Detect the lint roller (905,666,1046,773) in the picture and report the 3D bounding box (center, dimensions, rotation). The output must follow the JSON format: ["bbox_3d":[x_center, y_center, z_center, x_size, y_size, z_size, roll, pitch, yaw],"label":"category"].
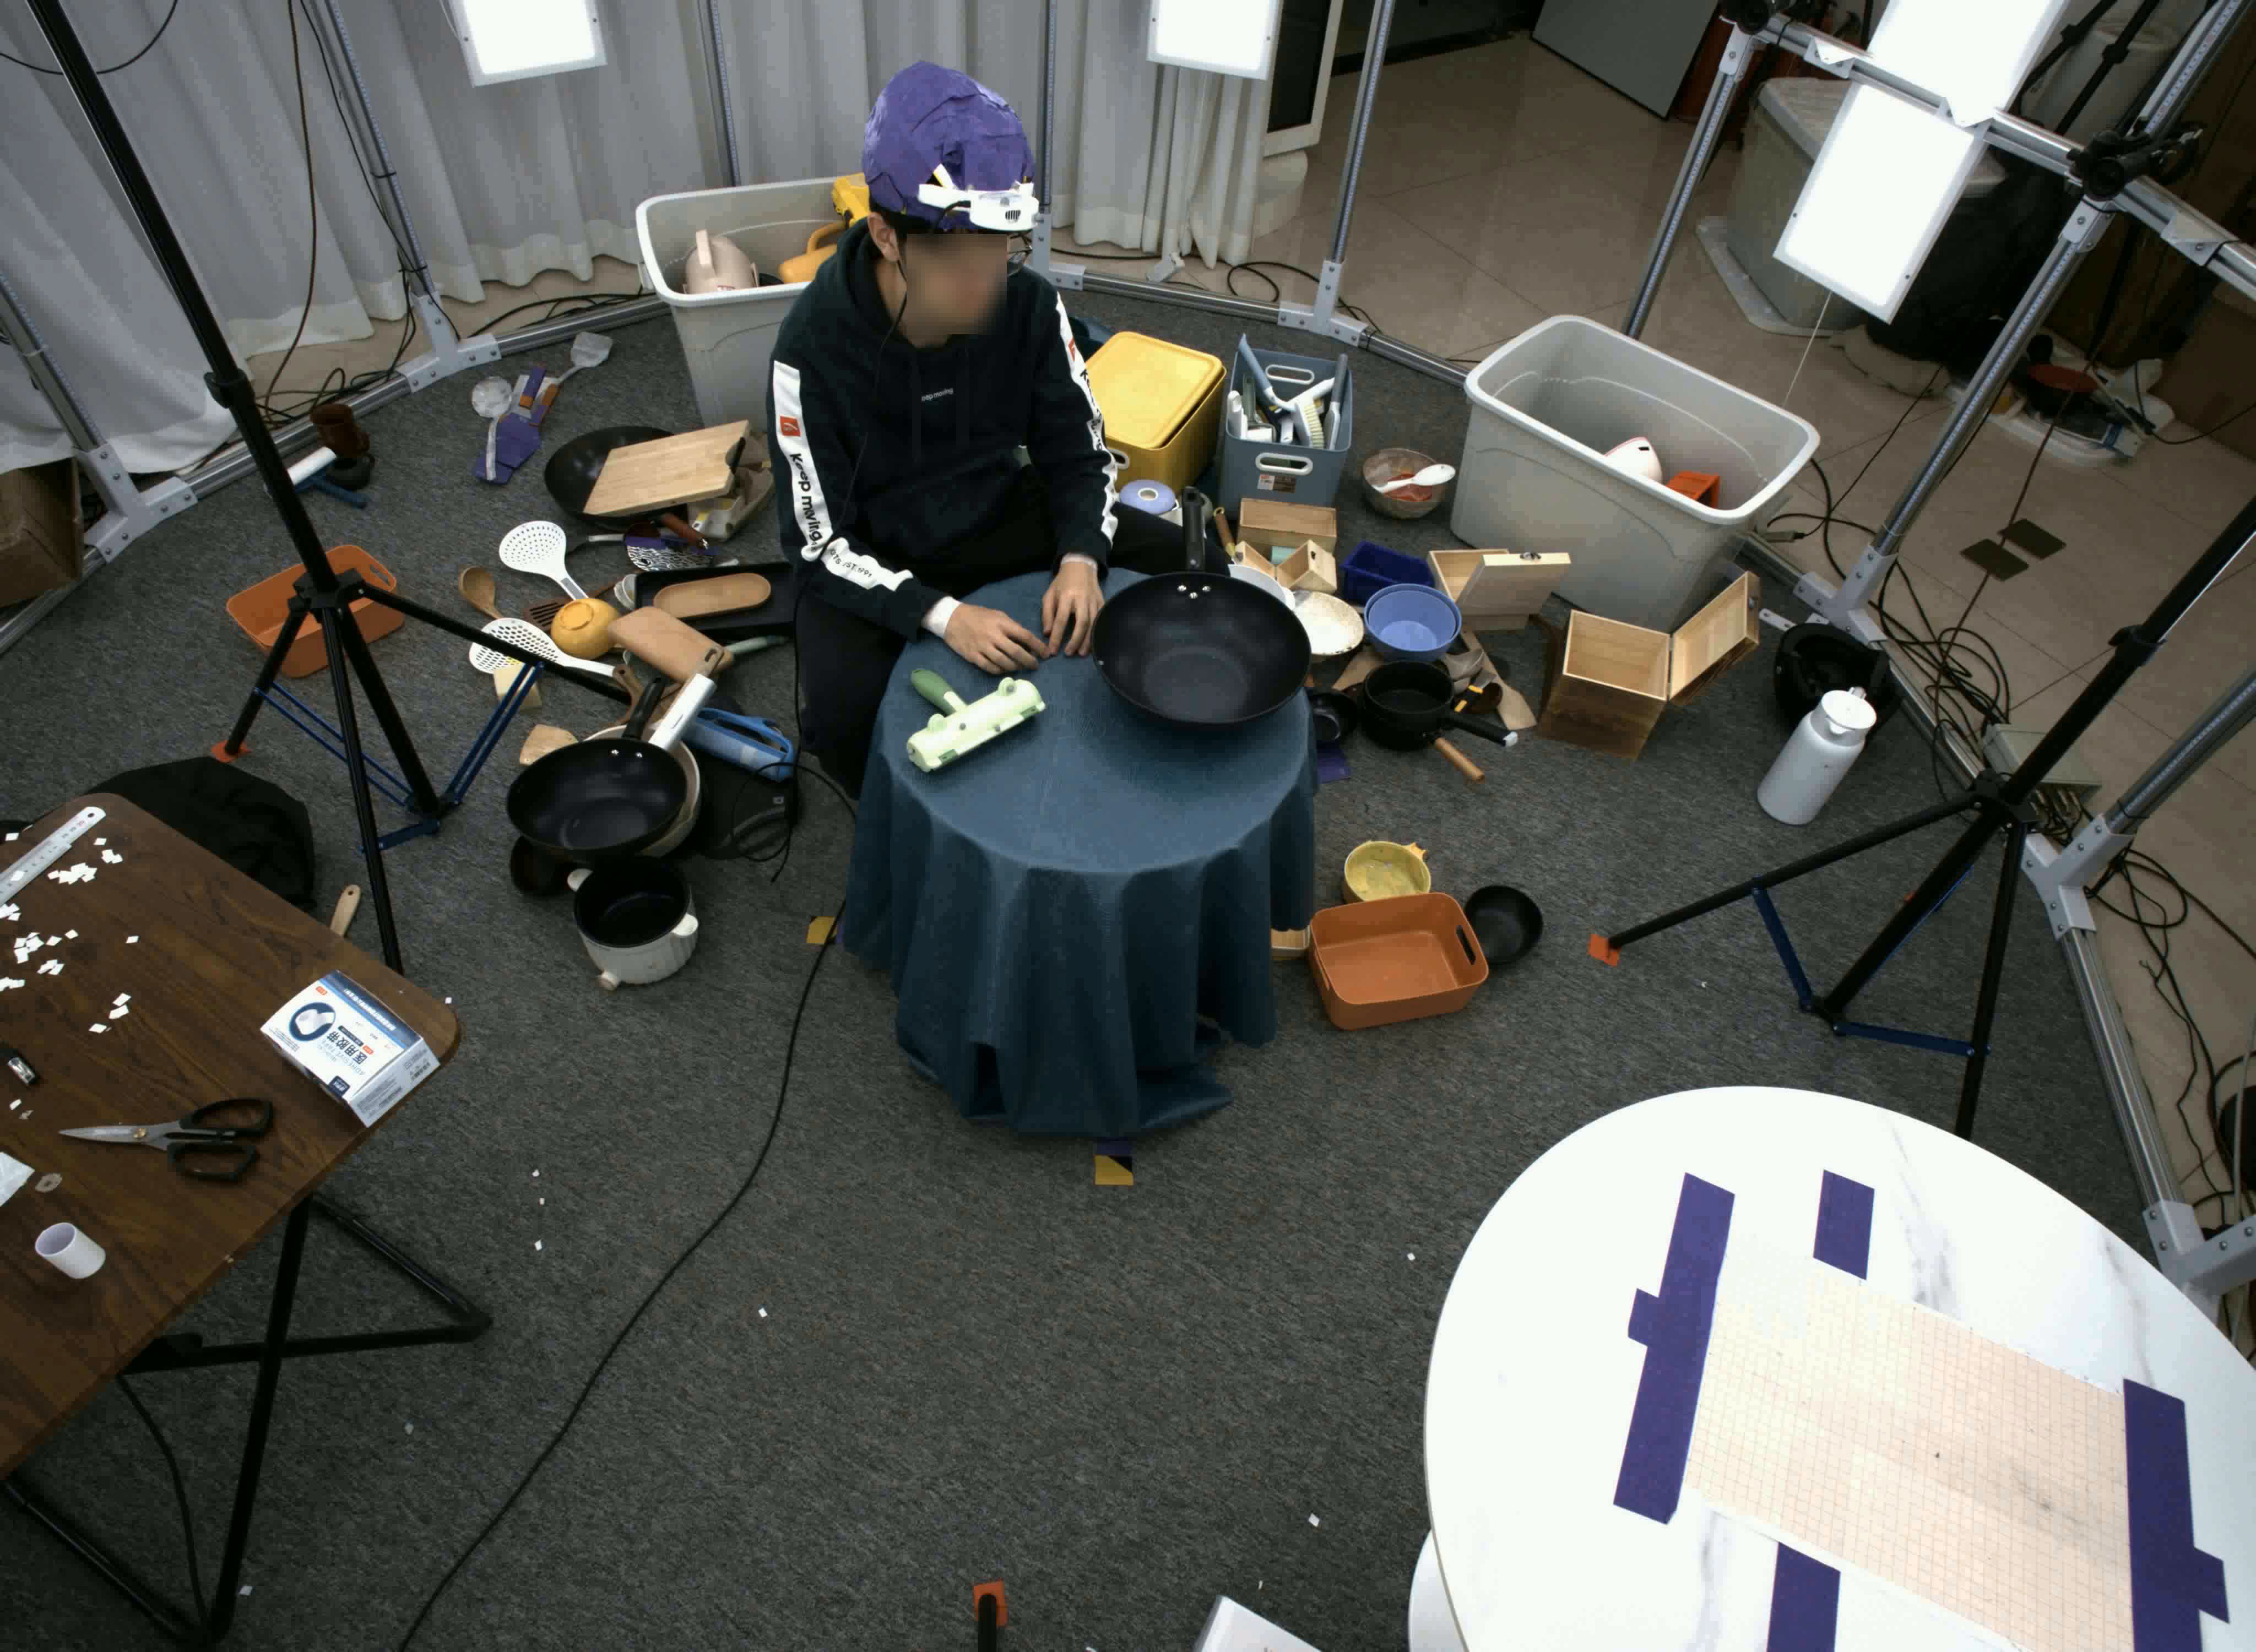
[{"bbox_3d":[-0.241,-0.178,1.758,0.200,0.080,0.186,-31,62,-26],"label":"lint roller"}]

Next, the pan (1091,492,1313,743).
[{"bbox_3d":[0.099,-0.293,1.861,0.310,0.109,0.489,2,50,-4],"label":"pan"}]
